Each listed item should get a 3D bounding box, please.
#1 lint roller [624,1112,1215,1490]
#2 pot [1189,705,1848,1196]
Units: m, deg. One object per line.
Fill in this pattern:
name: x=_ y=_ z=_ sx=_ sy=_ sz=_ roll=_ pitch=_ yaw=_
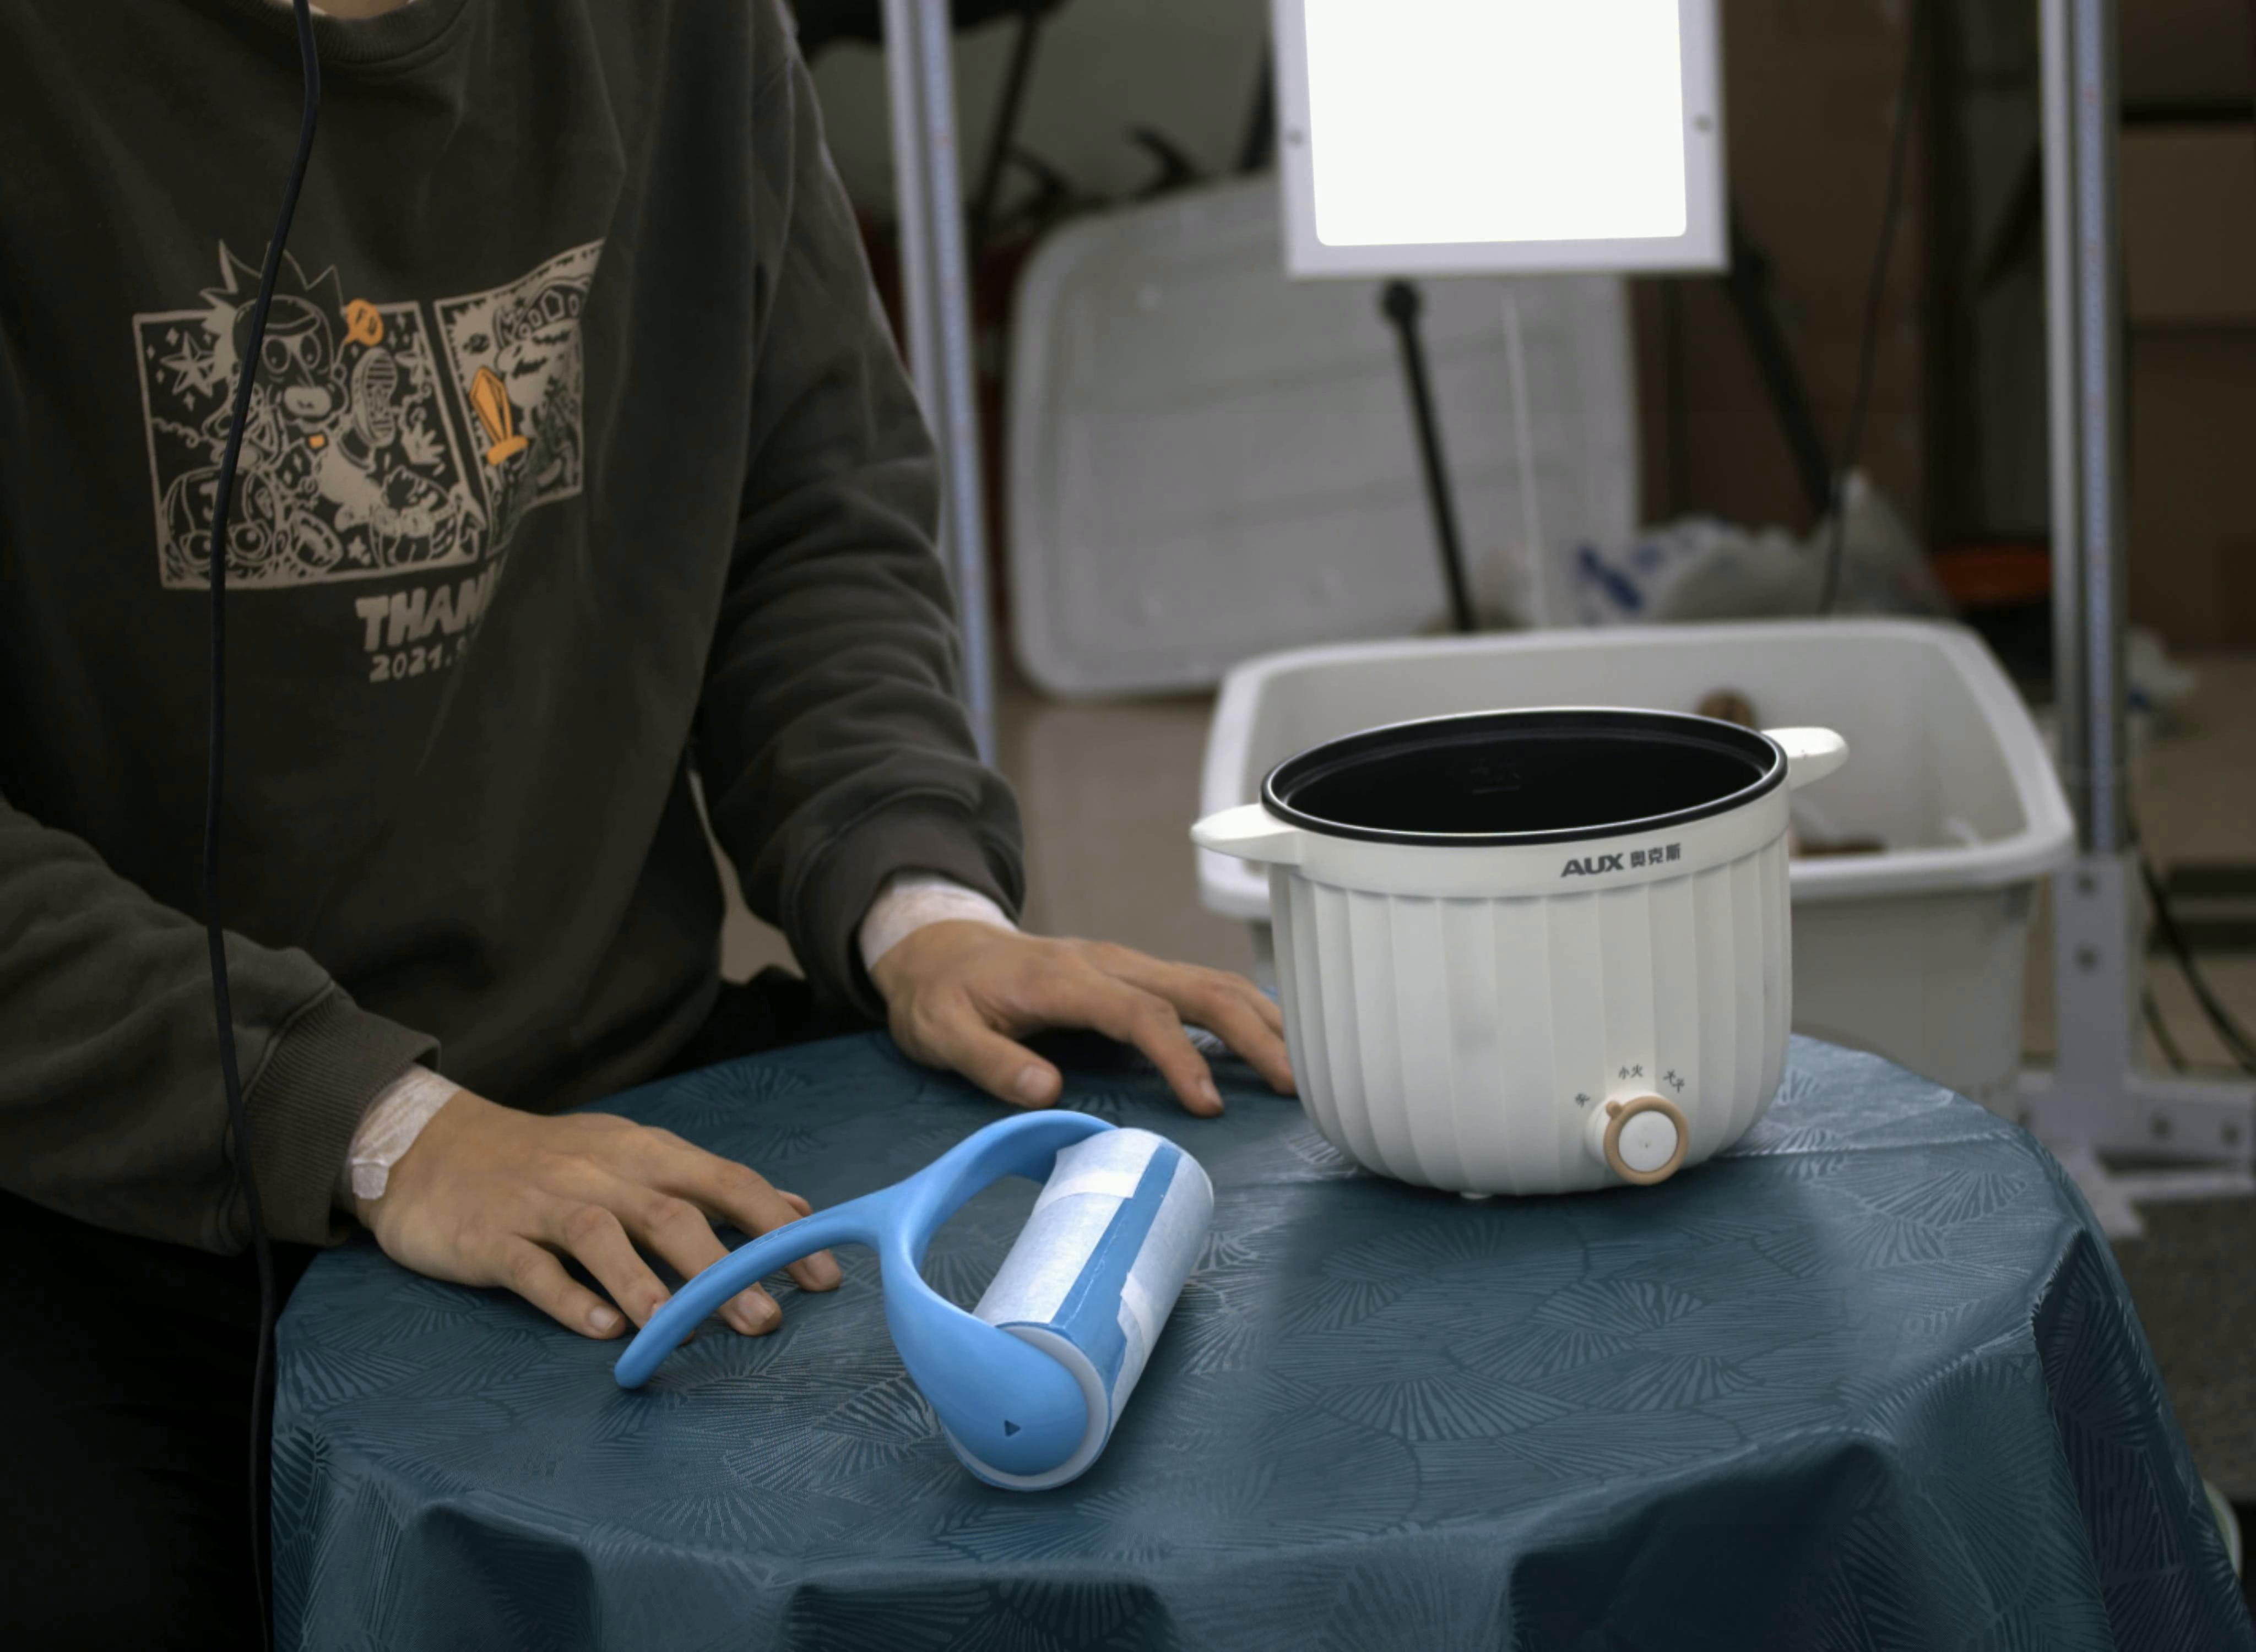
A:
lint roller: x=-0.072 y=0.147 z=1.719 sx=0.181 sy=0.068 sz=0.227 roll=-2 pitch=15 yaw=9
pot: x=0.143 y=0.044 z=1.885 sx=0.237 sy=0.143 sz=0.192 roll=-10 pitch=12 yaw=-14
